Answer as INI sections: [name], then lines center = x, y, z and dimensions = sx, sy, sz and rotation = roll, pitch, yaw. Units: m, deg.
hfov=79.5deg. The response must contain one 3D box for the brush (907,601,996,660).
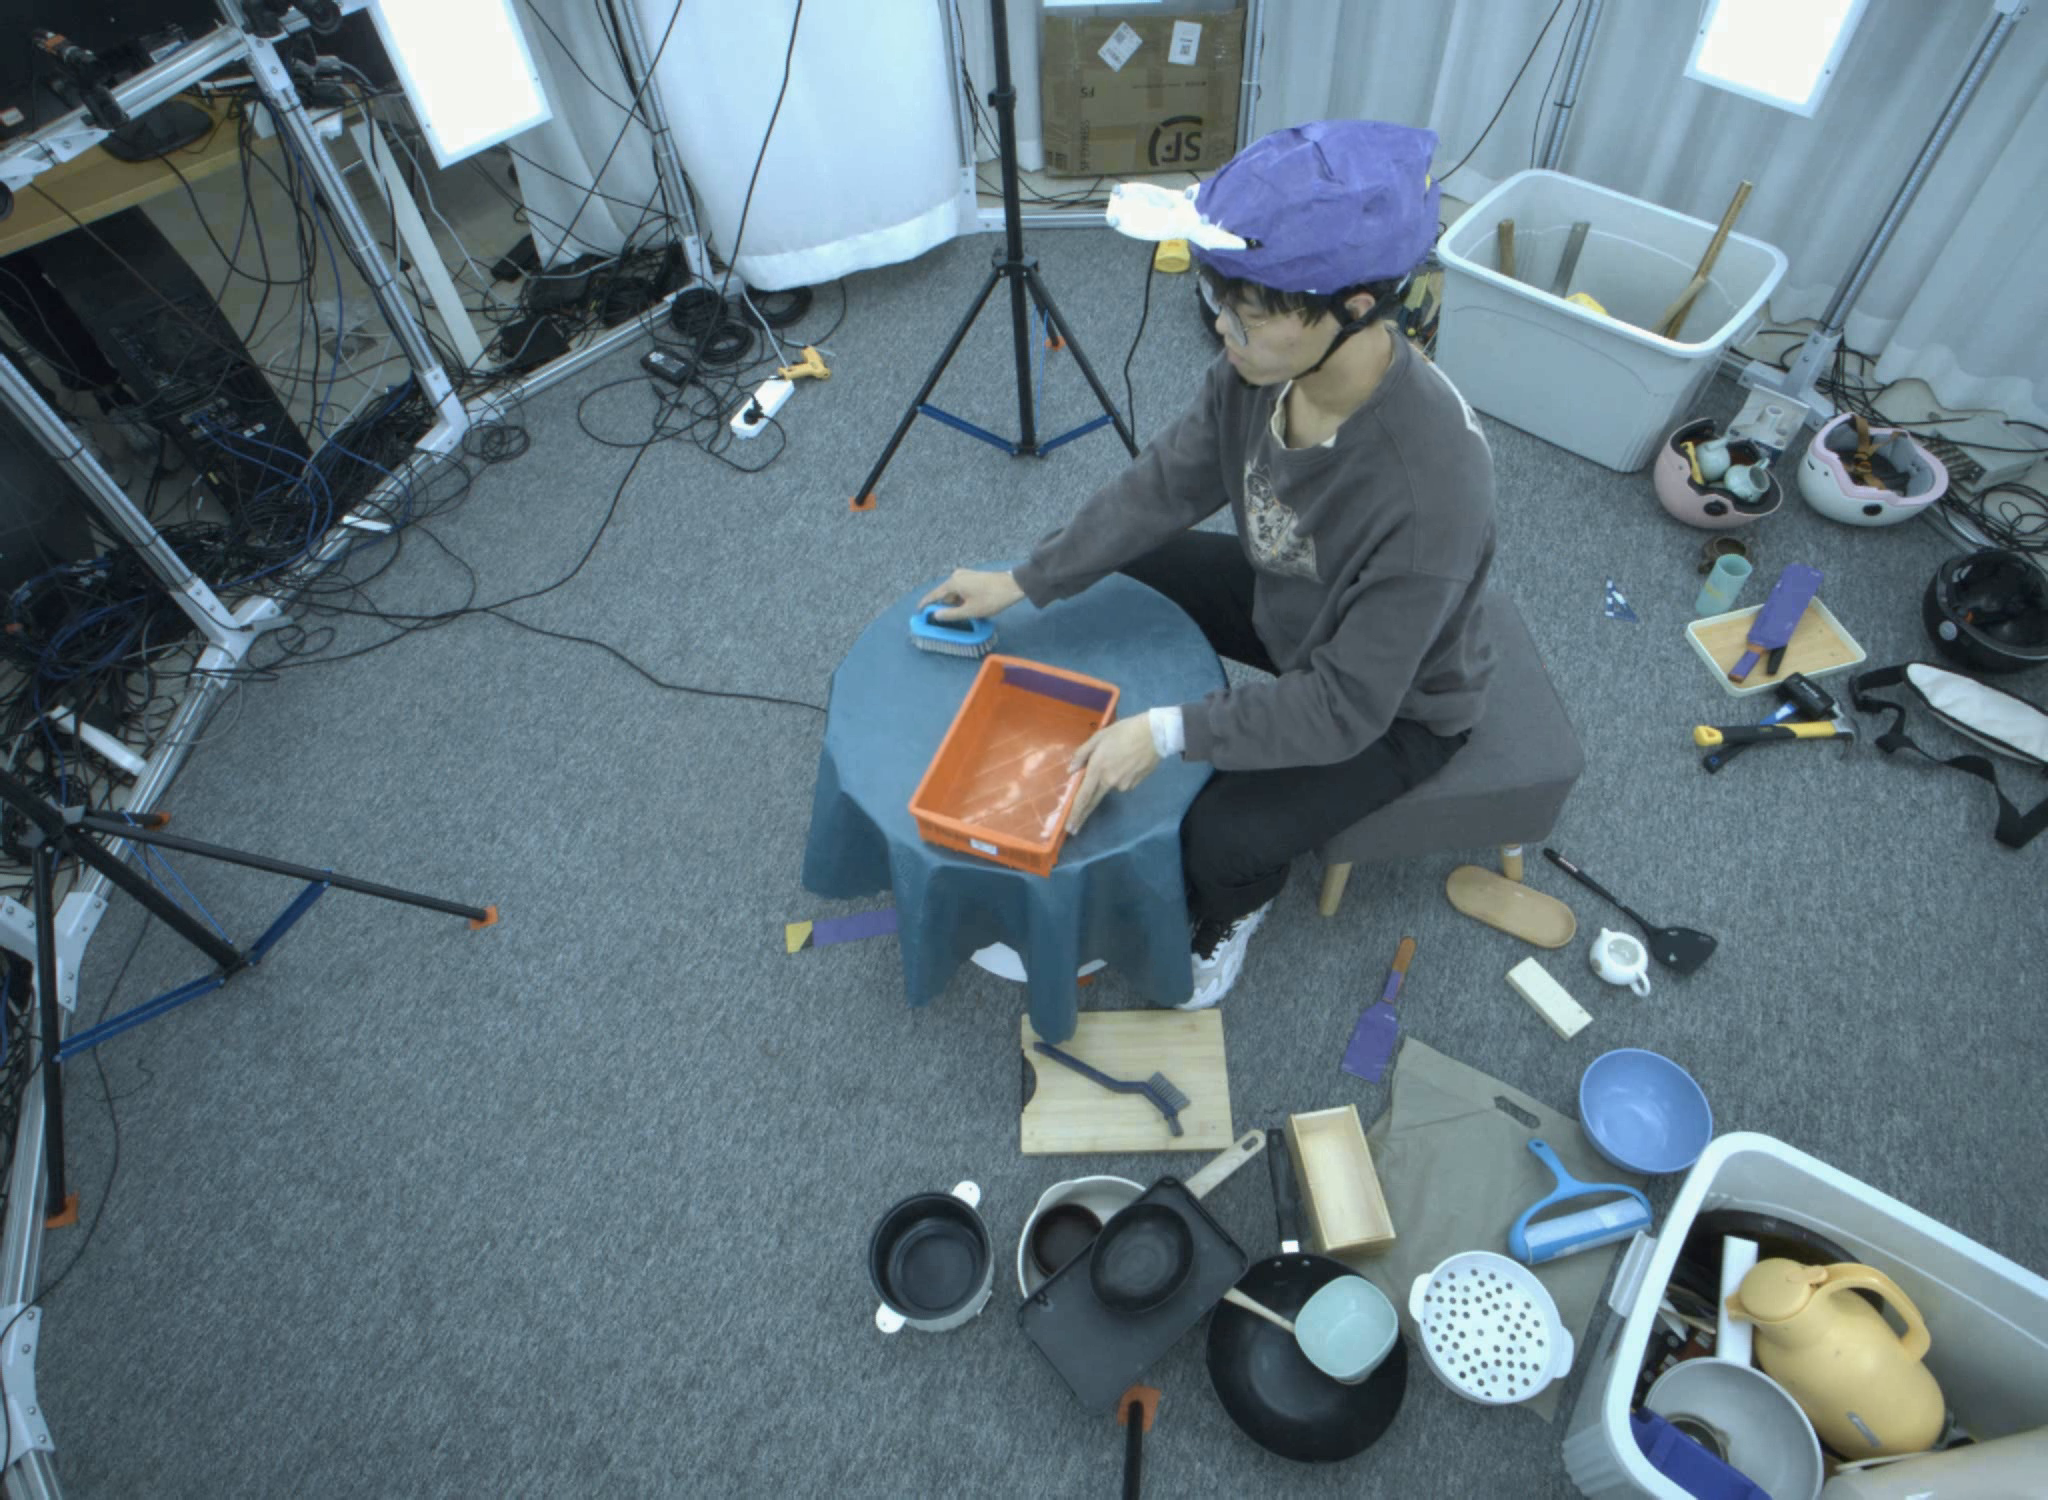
[brush]
center = -0.111, -0.195, 1.886
dimensions = 0.140, 0.064, 0.084
rotation = 14, 49, 12

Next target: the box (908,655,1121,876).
[box]
center = -0.006, 0.020, 1.718
dimensions = 0.204, 0.097, 0.303
rotation = 17, 57, 14
